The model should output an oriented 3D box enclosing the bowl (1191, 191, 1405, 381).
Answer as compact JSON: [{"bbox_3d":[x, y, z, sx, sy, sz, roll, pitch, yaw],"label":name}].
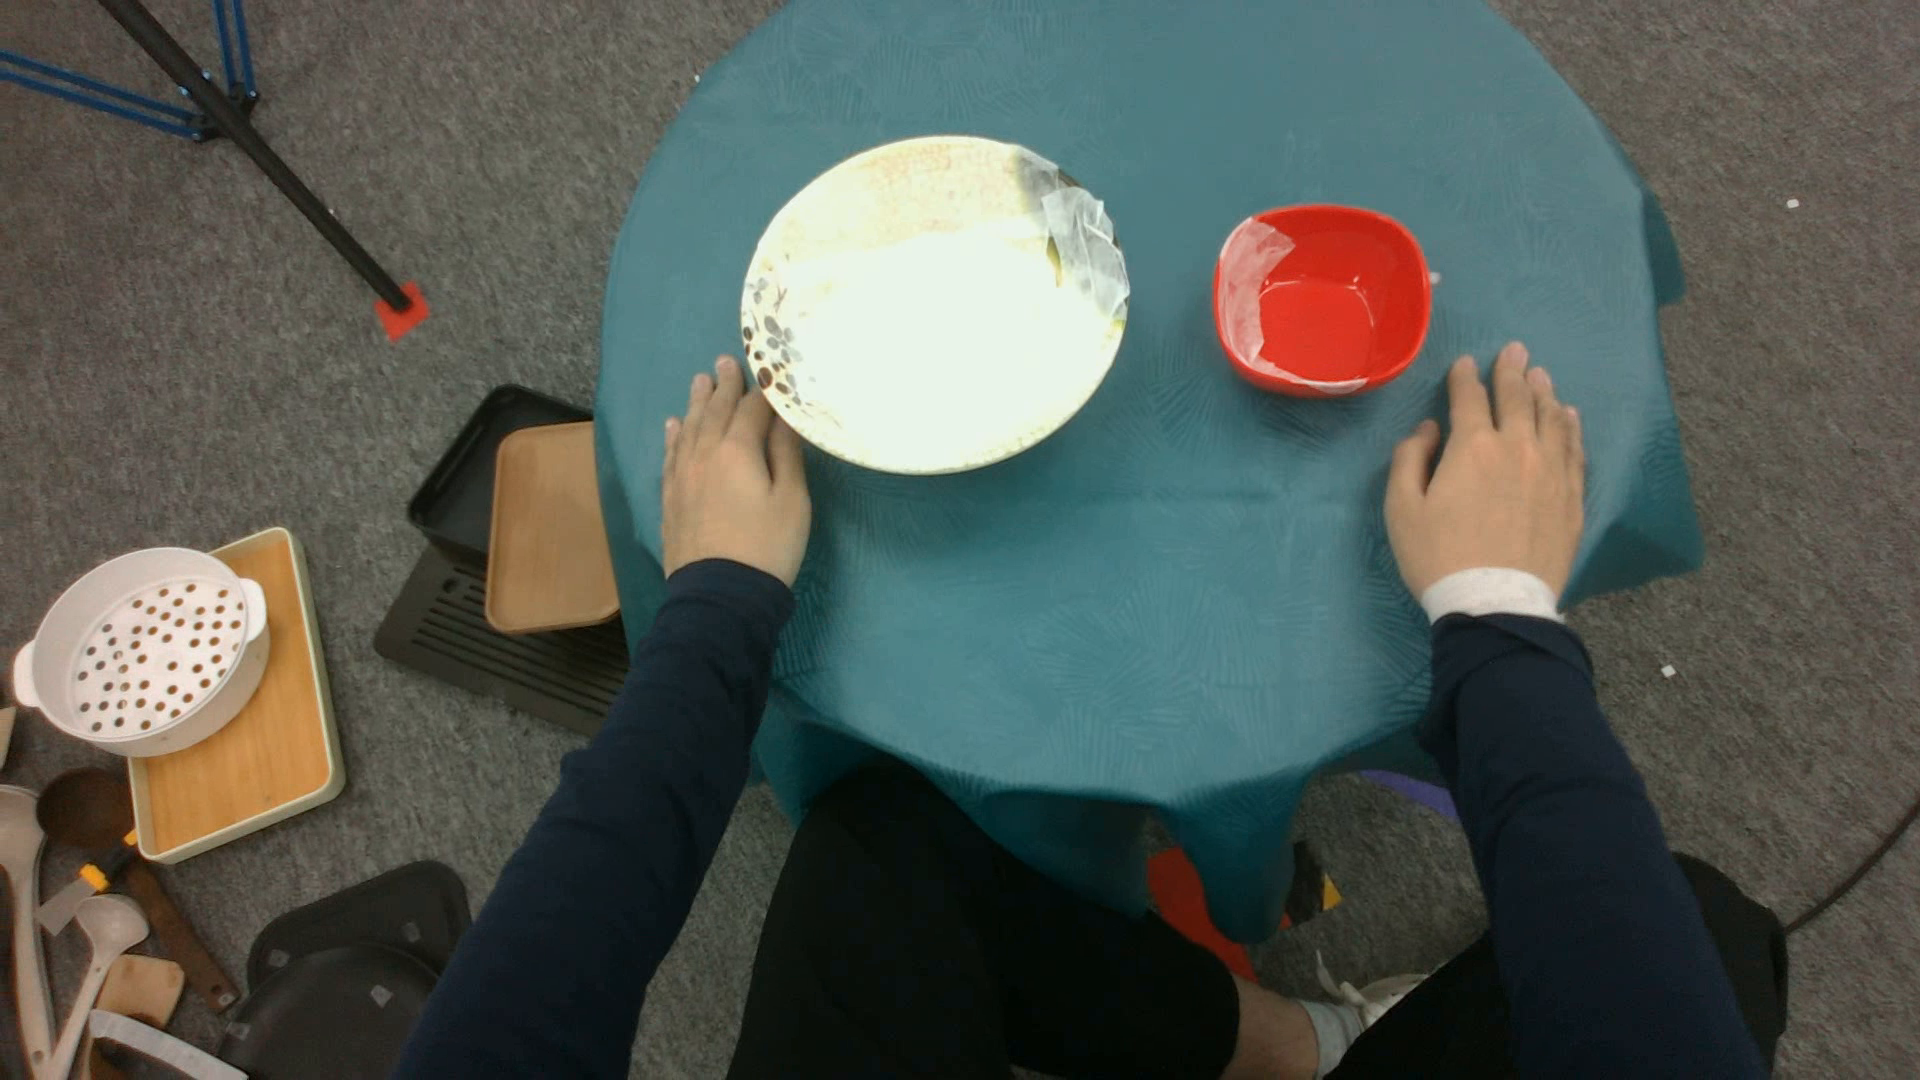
[{"bbox_3d":[0.178,-0.128,0.743,0.119,0.051,0.119,-1,66,3],"label":"bowl"}]

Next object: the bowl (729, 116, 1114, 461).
[{"bbox_3d":[-0.017,-0.123,0.749,0.204,0.078,0.204,-3,70,8],"label":"bowl"}]
